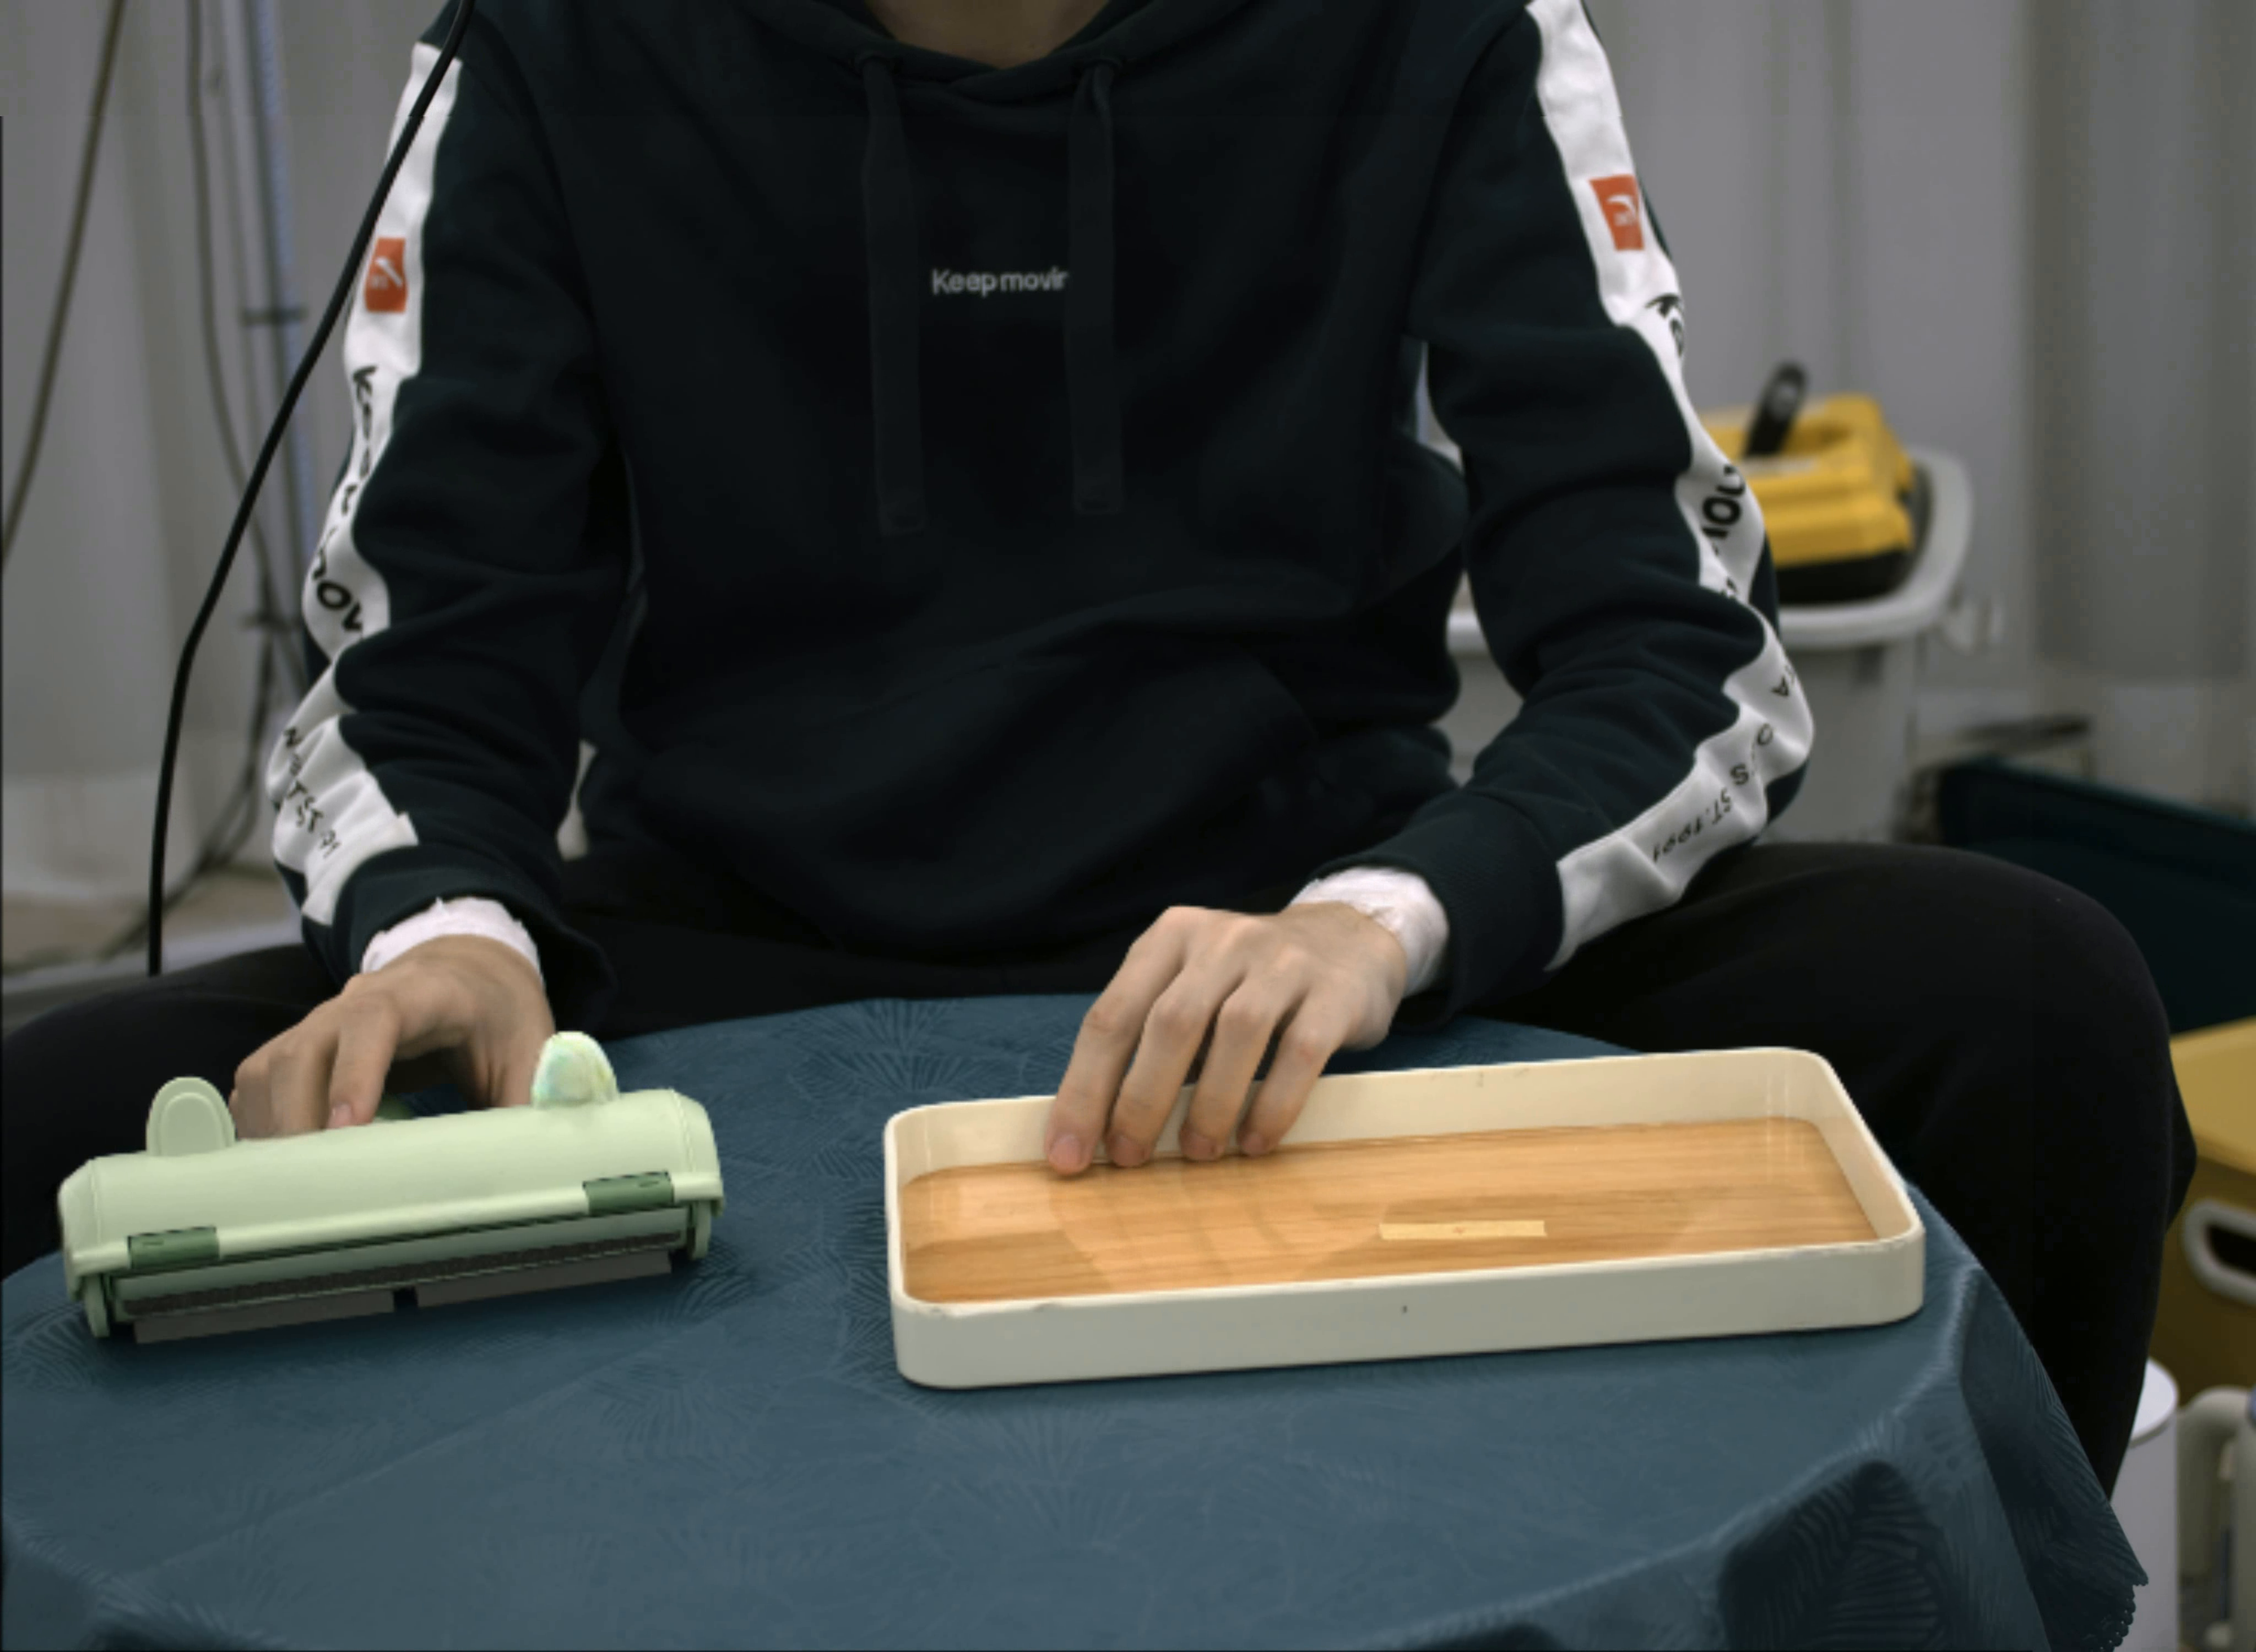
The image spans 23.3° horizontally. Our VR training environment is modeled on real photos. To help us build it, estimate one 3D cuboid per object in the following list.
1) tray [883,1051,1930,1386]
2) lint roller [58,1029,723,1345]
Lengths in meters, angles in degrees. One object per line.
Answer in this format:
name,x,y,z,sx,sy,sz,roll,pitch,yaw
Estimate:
tray,0.077,0.116,1.642,0.299,0.027,0.193,-4,14,-2
lint roller,-0.235,0.093,1.700,0.198,0.081,0.185,-7,20,-12
